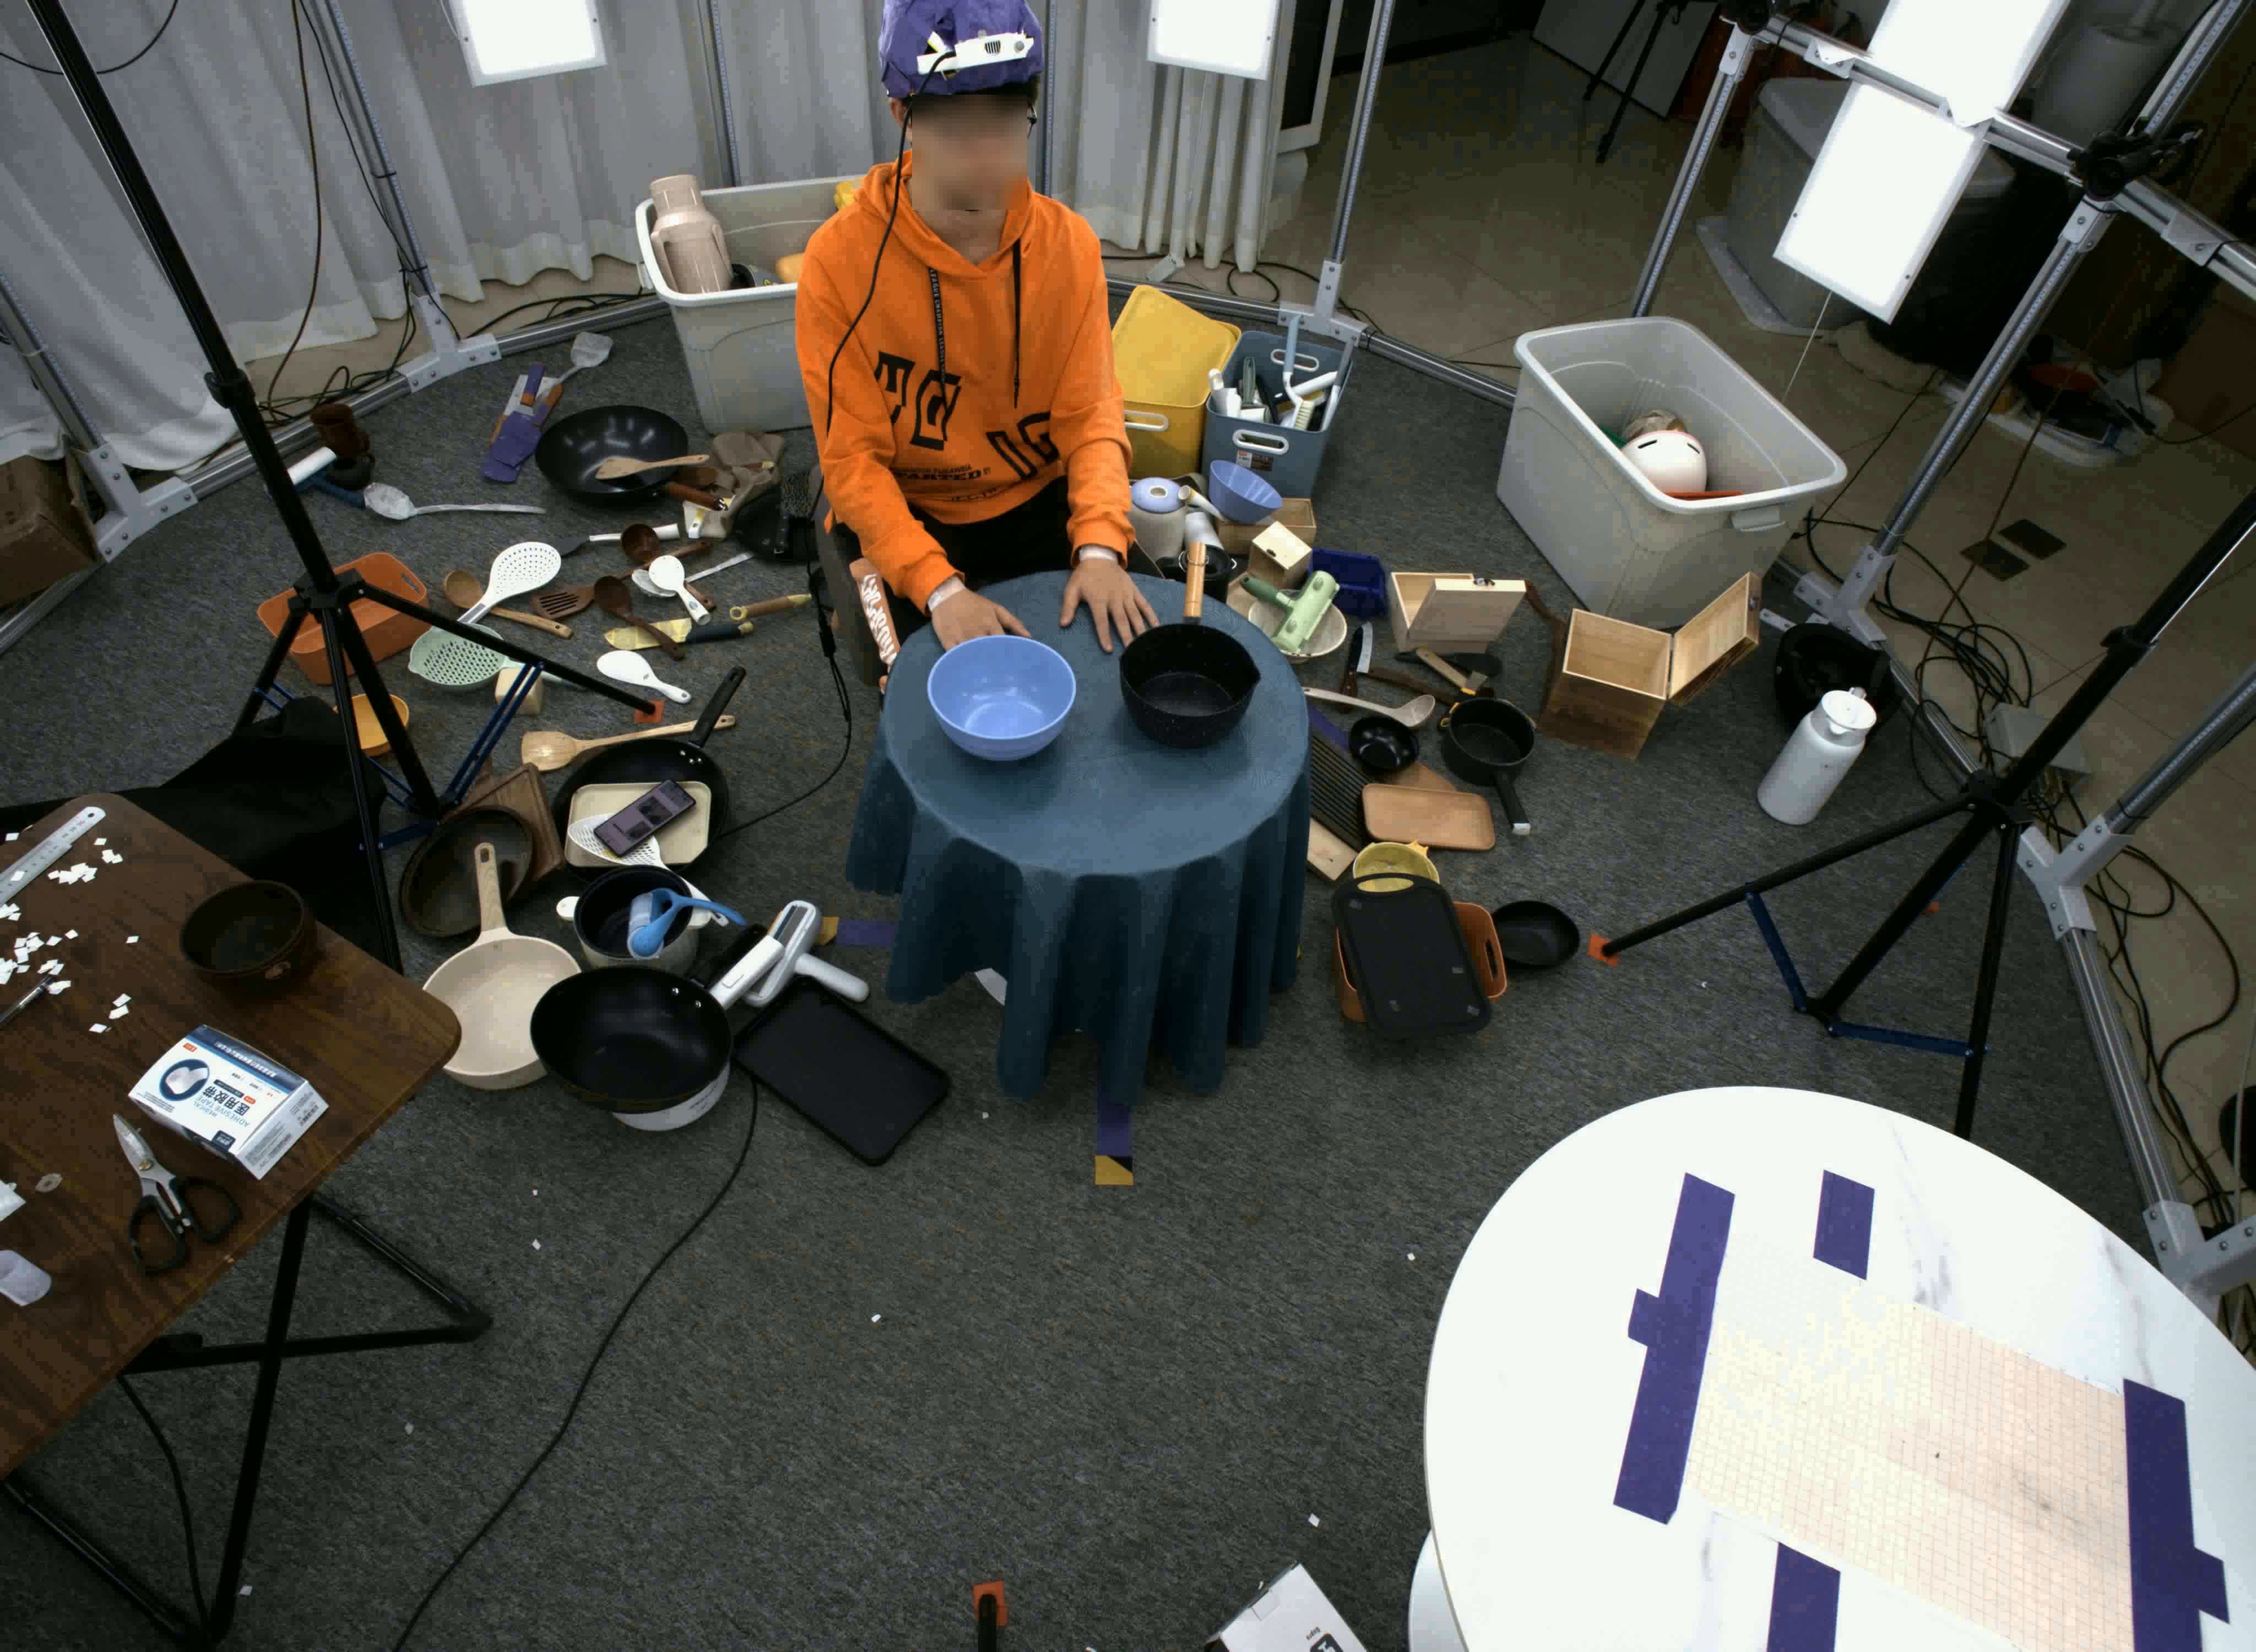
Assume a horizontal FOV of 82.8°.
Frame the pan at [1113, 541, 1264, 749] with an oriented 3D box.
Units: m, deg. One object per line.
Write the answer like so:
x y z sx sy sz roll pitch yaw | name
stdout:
0.086 -0.258 1.829 0.207 0.105 0.351 4 50 1 | pan

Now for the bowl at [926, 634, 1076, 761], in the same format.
-0.170 -0.158 1.732 0.196 0.093 0.201 2 50 -2 | bowl
